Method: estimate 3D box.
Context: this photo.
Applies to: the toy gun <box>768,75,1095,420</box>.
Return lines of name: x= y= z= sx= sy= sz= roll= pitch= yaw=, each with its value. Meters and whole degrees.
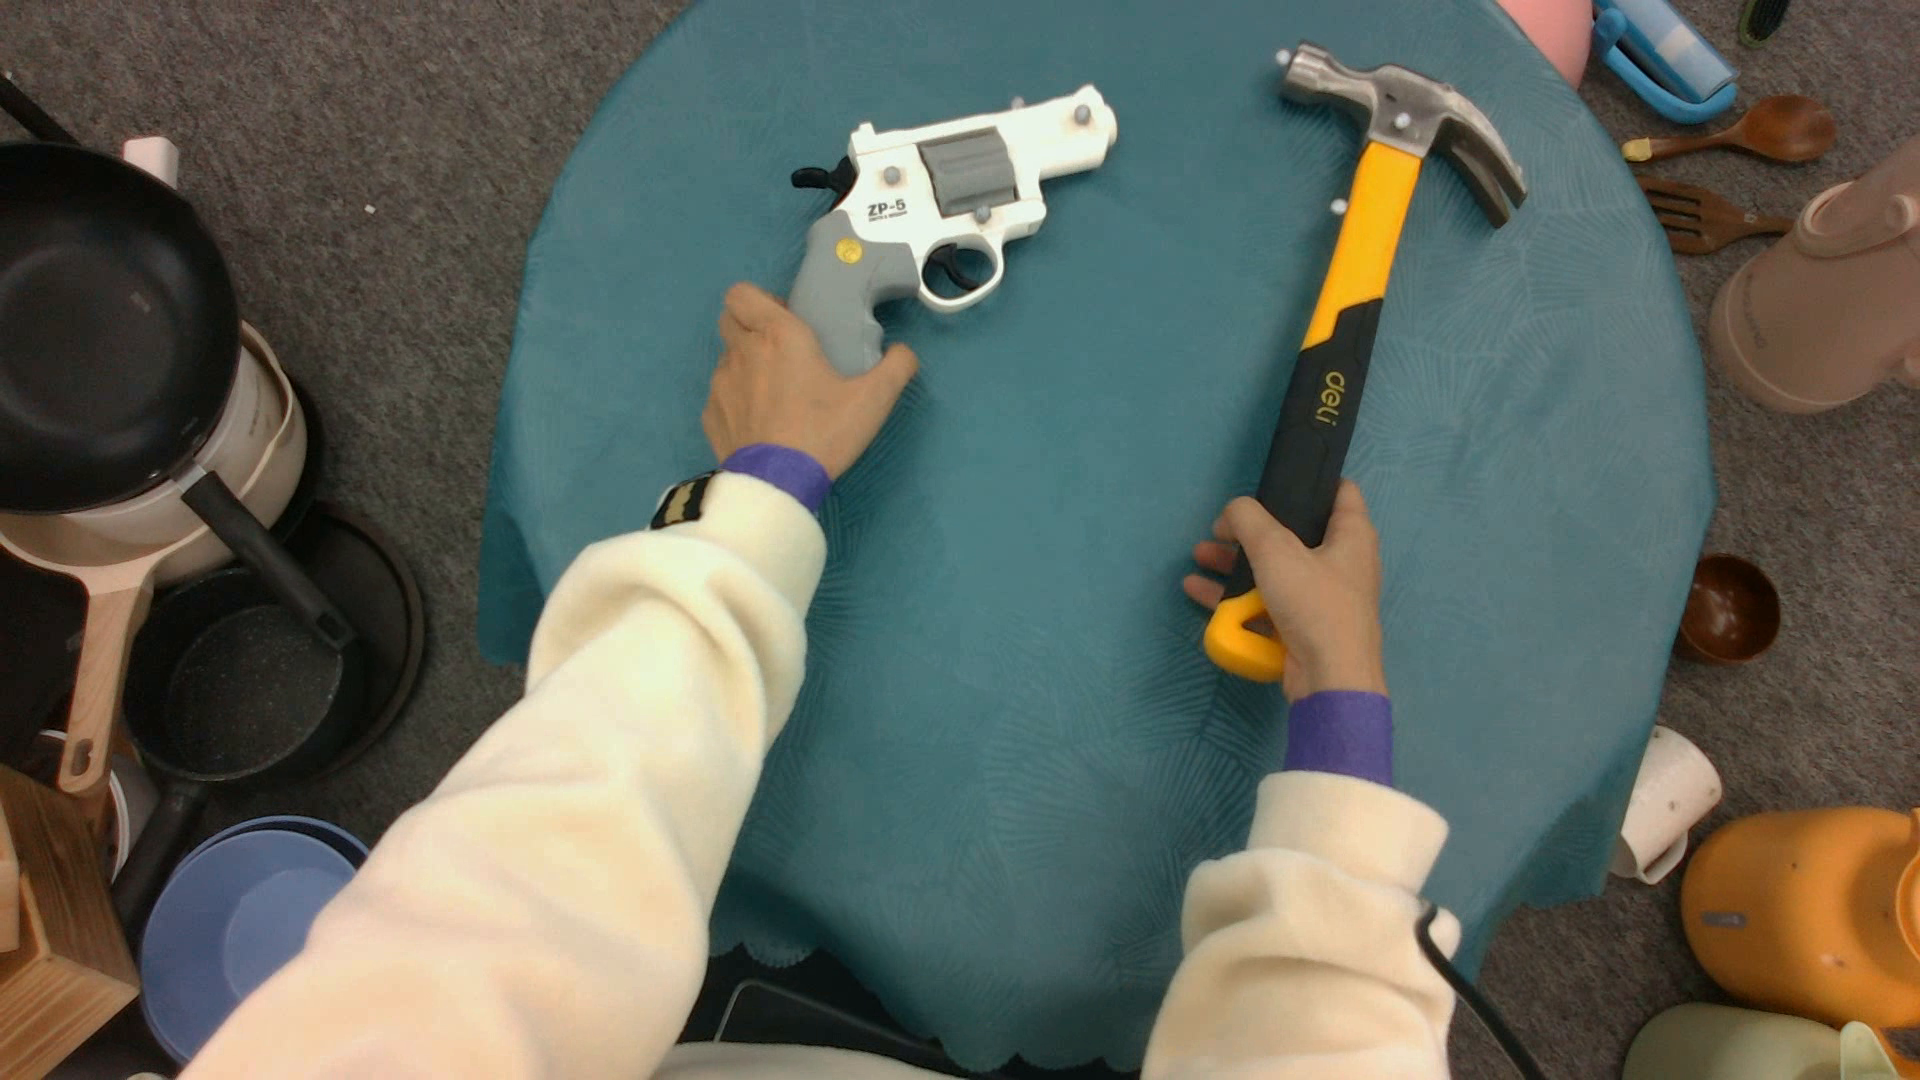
toy gun: x=-0.012 y=-0.148 z=0.676 sx=0.209 sy=0.038 sz=0.142 roll=-18 pitch=79 yaw=-15

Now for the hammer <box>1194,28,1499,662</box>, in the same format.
hammer: x=0.172 y=-0.099 z=0.659 sx=0.131 sy=0.032 sz=0.340 roll=20 pitch=67 yaw=-1
